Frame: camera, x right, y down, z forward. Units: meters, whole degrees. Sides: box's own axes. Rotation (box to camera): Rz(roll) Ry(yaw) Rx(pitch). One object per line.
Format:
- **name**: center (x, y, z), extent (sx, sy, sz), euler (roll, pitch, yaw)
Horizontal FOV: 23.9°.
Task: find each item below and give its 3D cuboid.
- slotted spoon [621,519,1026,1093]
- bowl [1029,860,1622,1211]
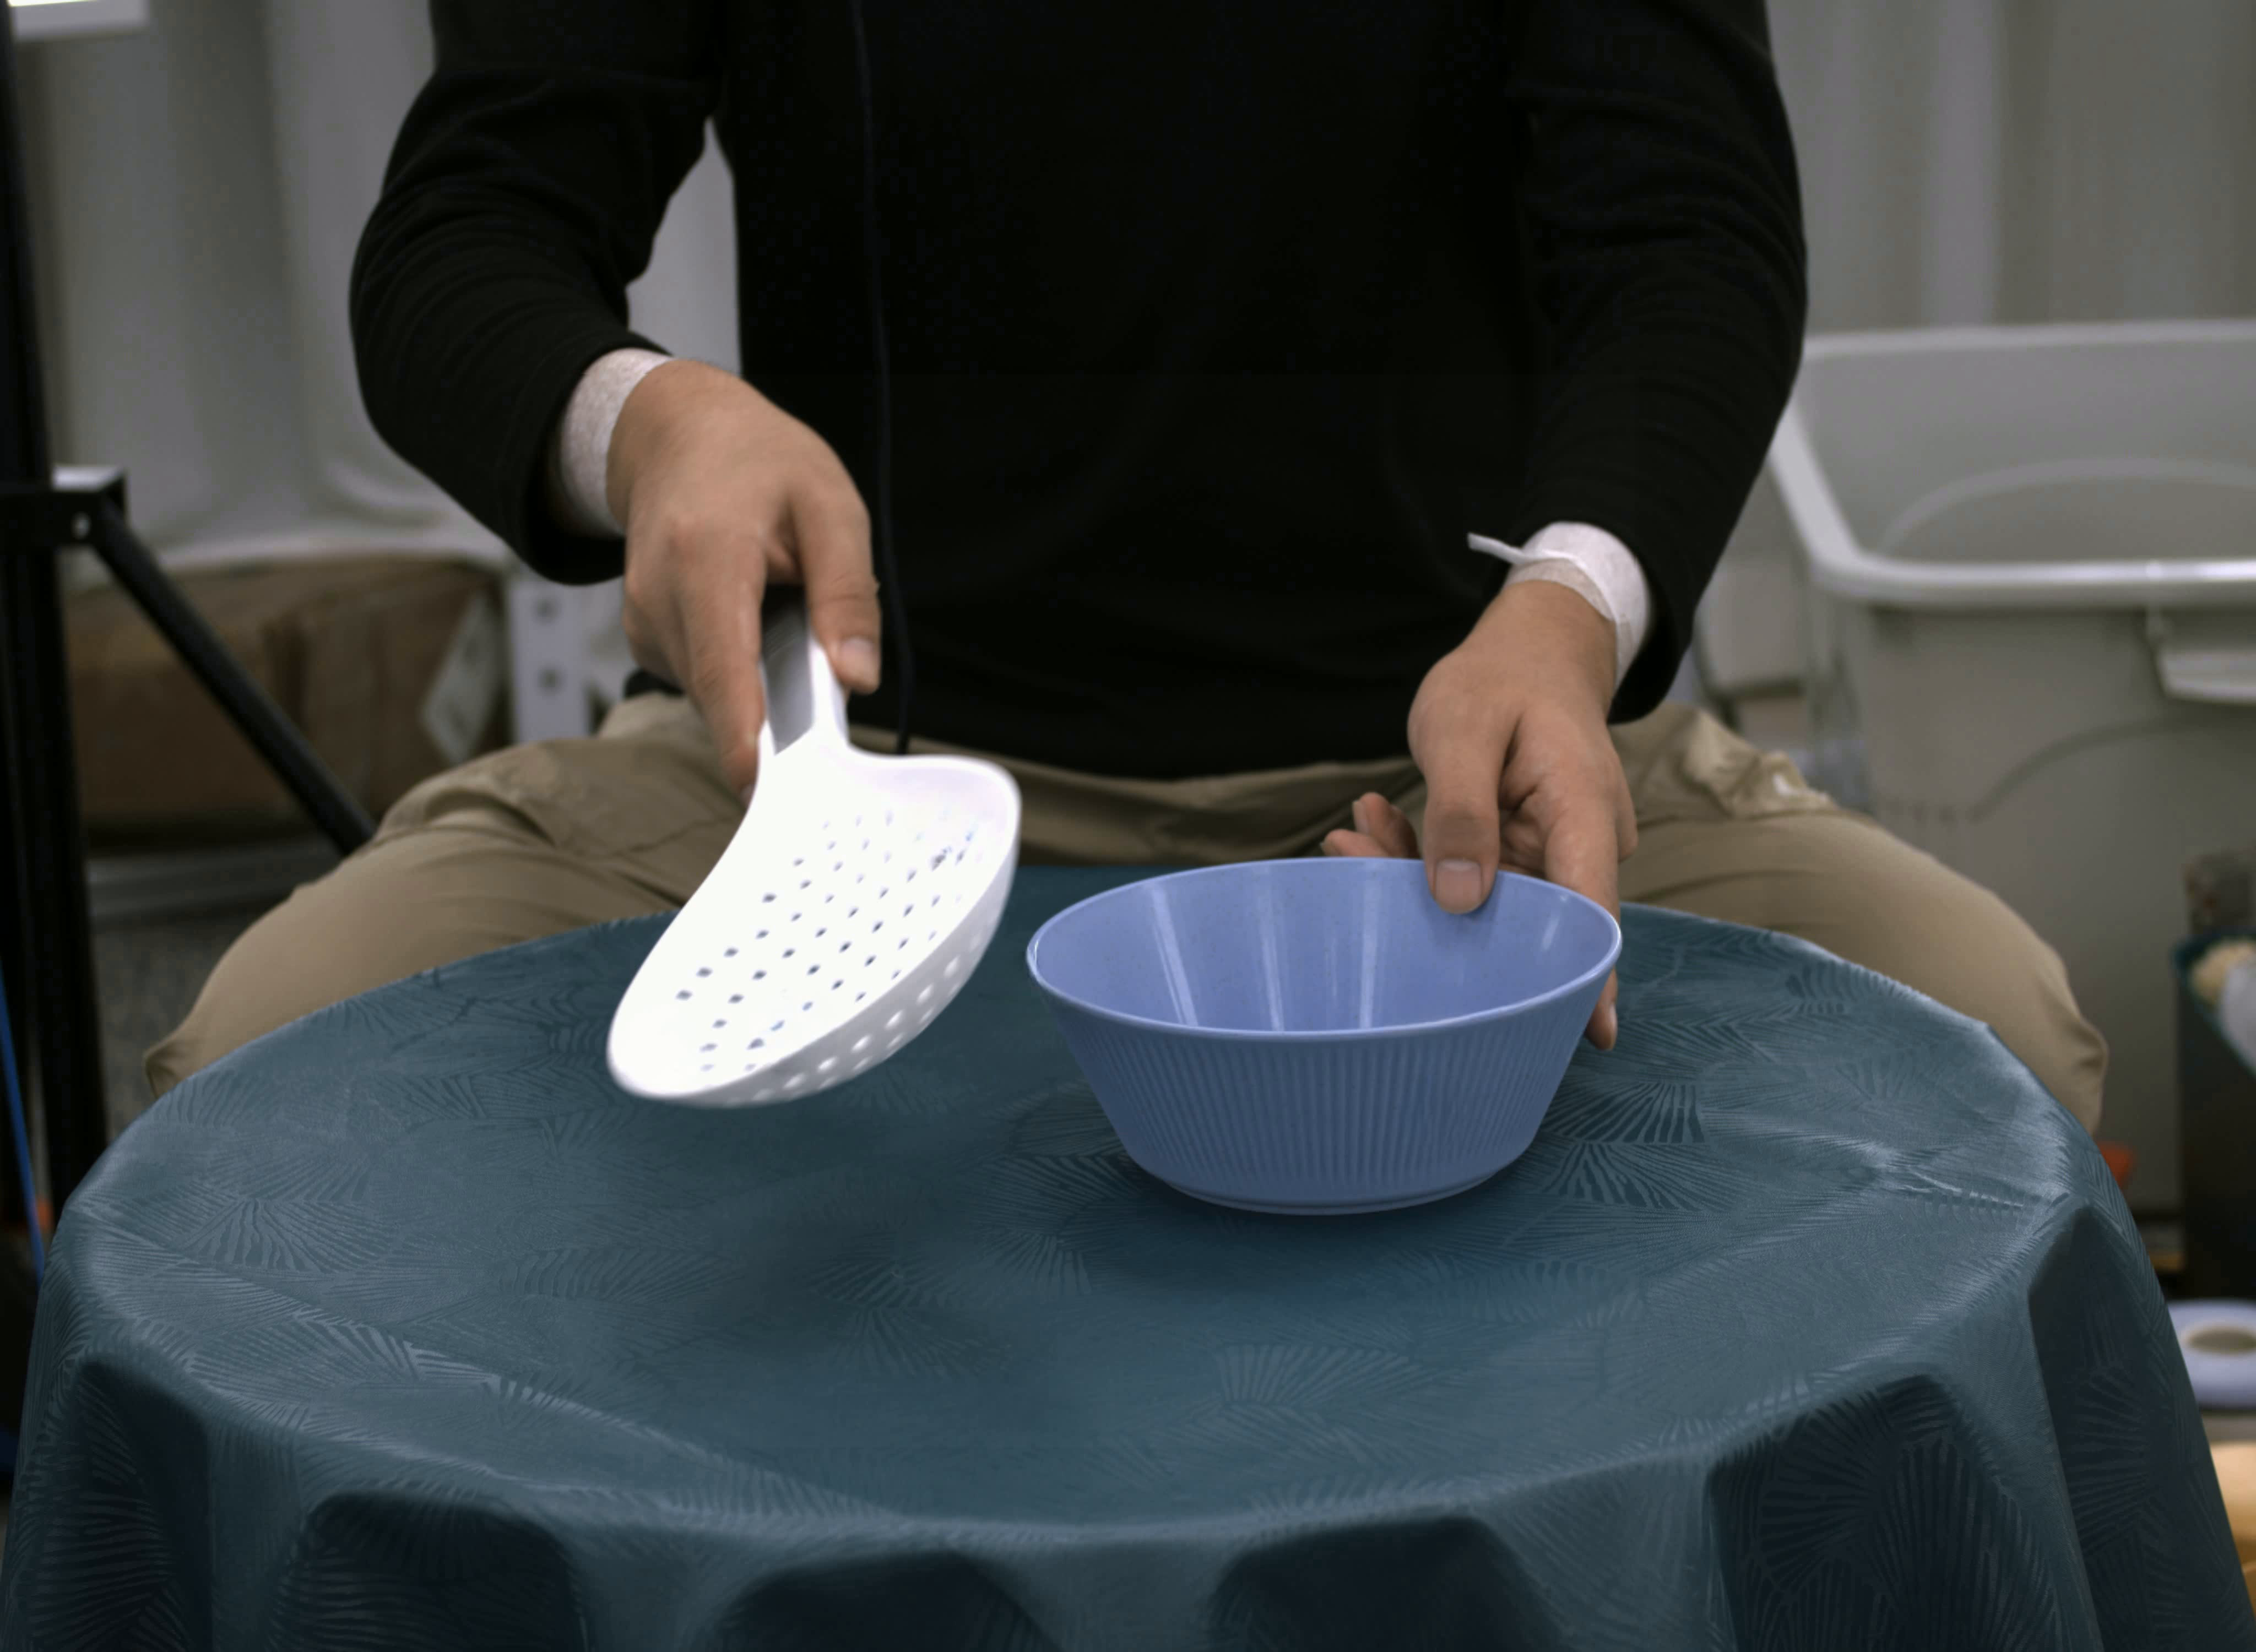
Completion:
- **slotted spoon**: center (-0.092, -0.016, 1.577), extent (0.136, 0.045, 0.354), euler (-34, 28, 9)
- **bowl**: center (0.059, 0.064, 1.571), extent (0.175, 0.070, 0.177), euler (-2, 15, -1)
